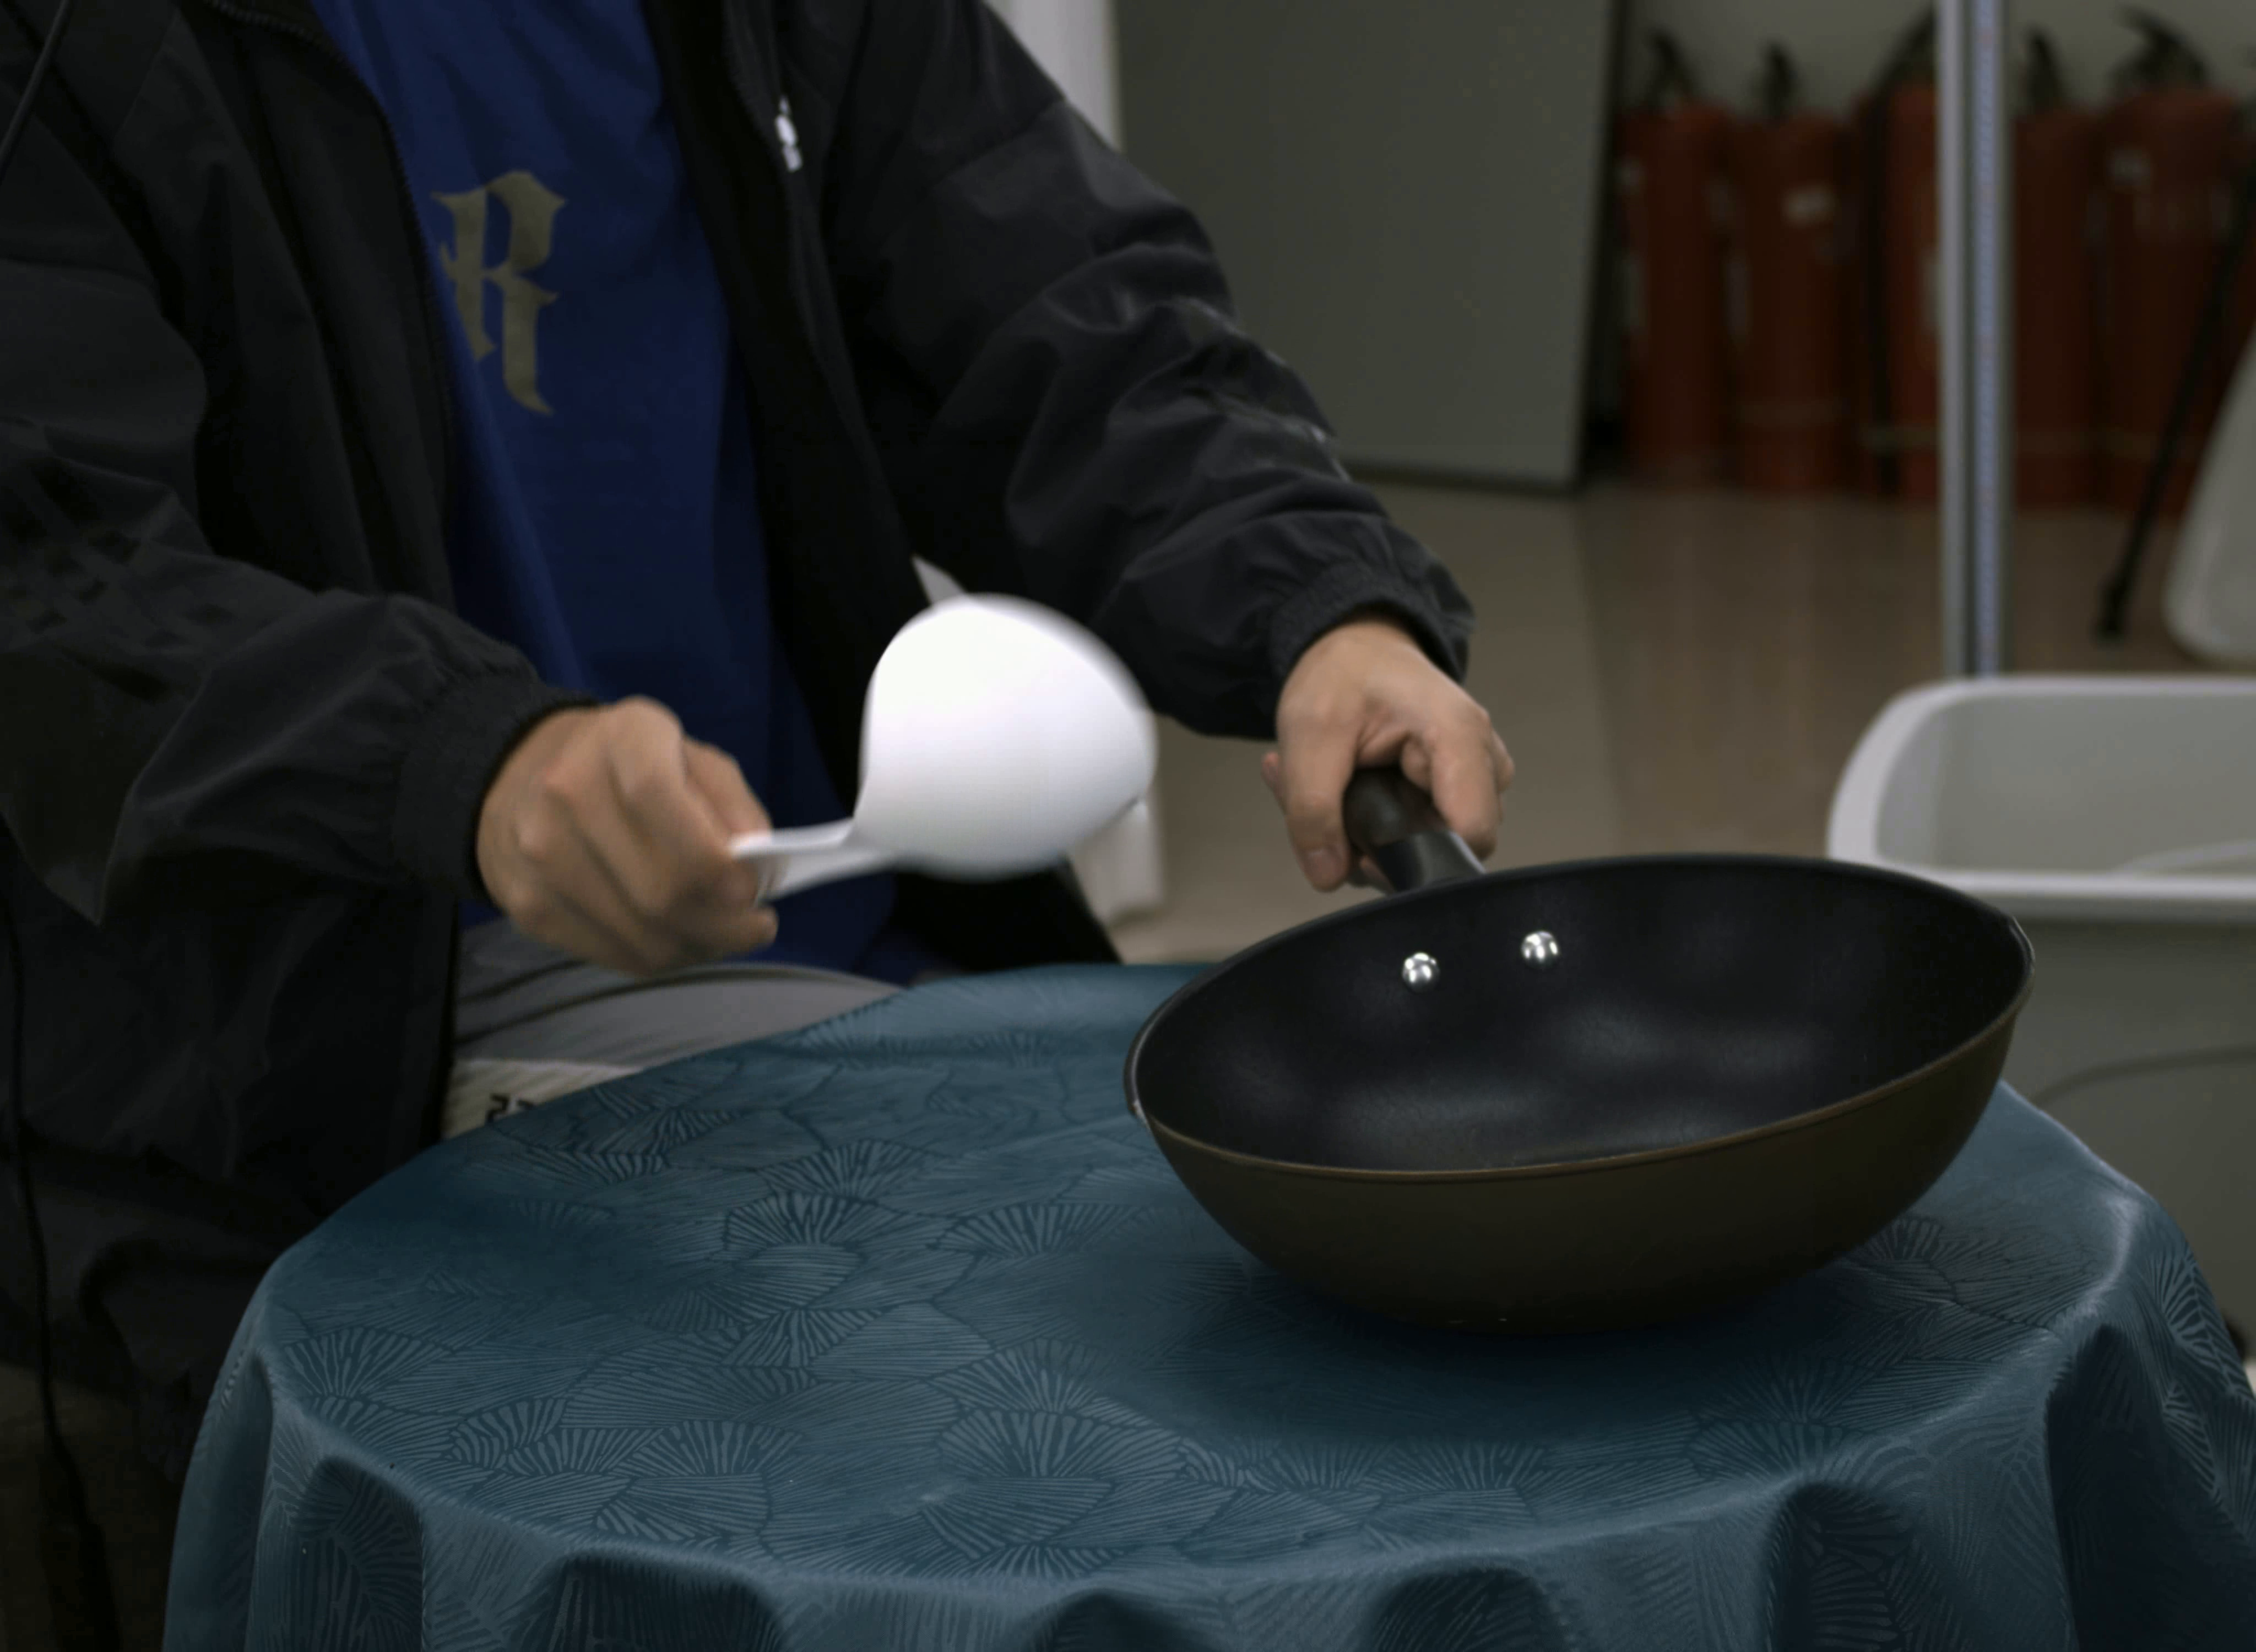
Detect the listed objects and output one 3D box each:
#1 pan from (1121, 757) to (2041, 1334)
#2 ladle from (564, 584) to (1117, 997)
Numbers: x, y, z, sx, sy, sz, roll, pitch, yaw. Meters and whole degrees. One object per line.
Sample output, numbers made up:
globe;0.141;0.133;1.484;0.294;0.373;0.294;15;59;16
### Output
pan;0.125;0.068;1.743;0.283;0.088;0.466;-10;15;-8
ladle;-0.101;-0.002;1.679;0.070;0.089;0.295;-60;16;-24
